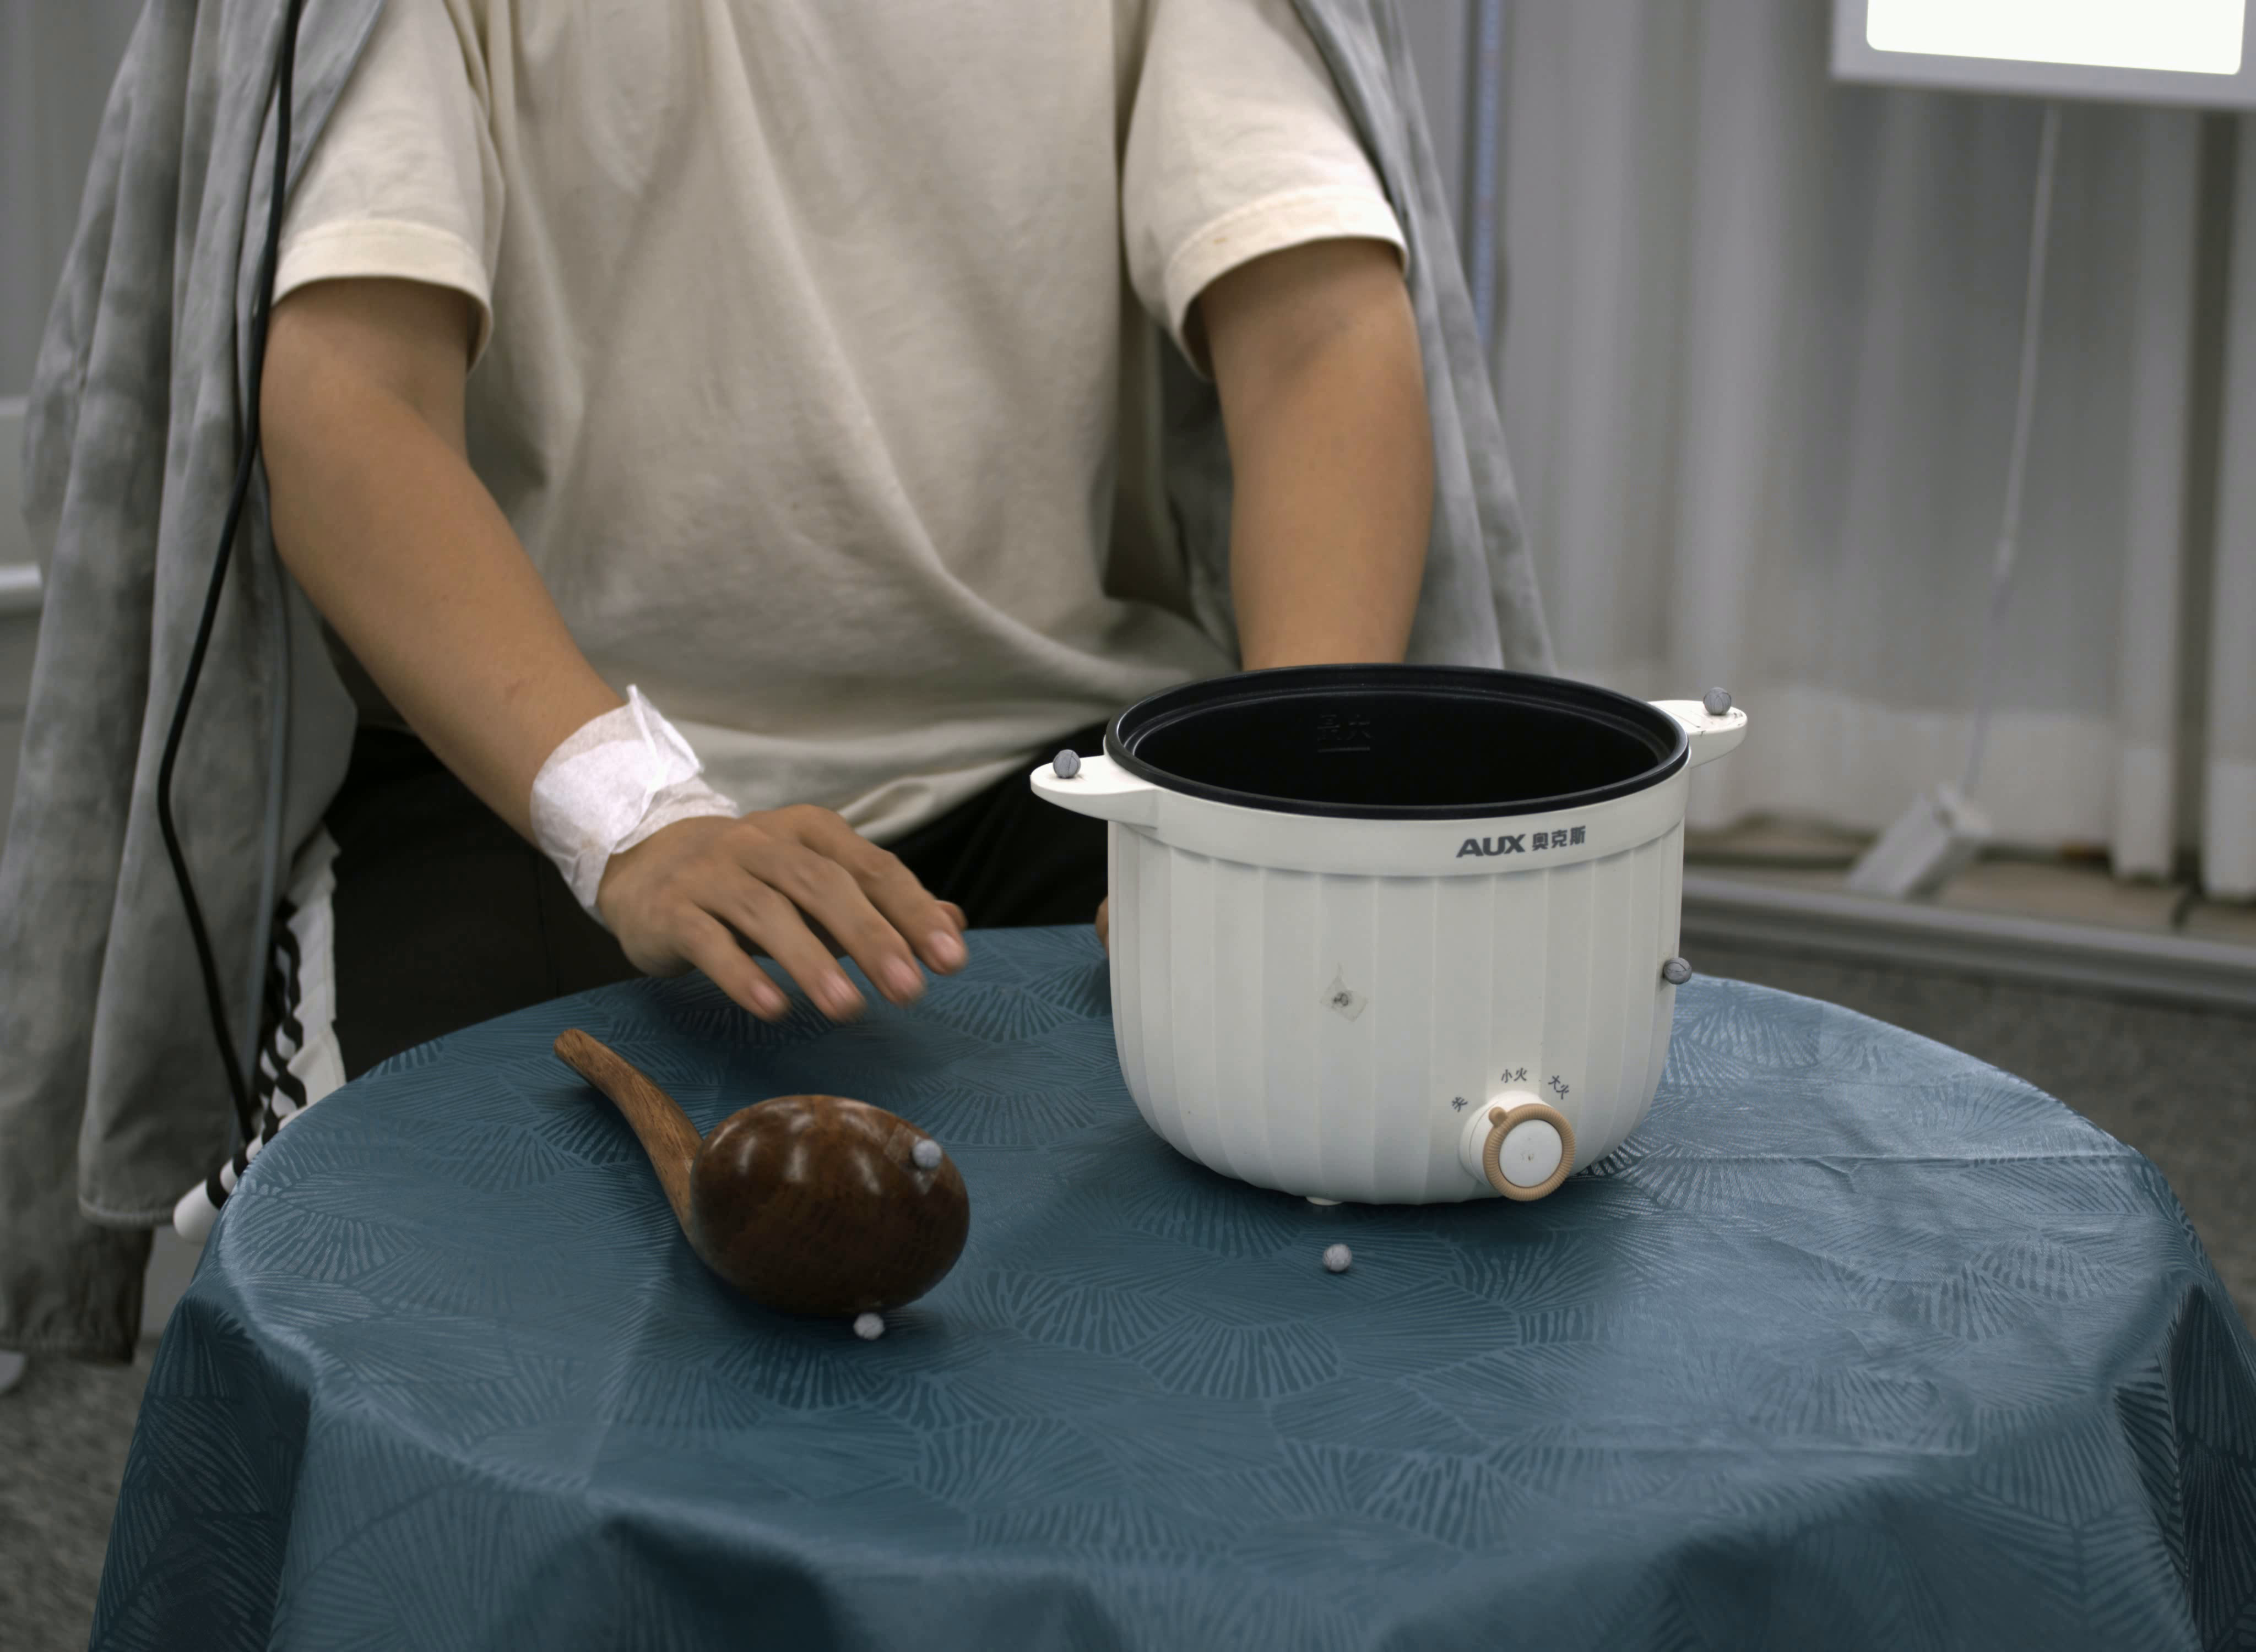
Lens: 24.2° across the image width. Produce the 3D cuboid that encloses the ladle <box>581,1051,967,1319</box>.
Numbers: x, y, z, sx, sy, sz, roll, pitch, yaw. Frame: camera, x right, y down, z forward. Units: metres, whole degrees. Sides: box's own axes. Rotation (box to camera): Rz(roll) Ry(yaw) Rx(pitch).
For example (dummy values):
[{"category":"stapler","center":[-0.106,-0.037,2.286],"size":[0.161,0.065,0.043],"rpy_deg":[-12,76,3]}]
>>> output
[{"category":"ladle","center":[-0.116,0.086,1.595],"size":[0.076,0.082,0.271],"rpy_deg":[-47,20,-1]}]

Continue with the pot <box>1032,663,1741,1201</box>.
[{"category":"pot","center":[0.086,0.035,1.645],"size":[0.241,0.144,0.188],"rpy_deg":[-7,14,-22]}]
